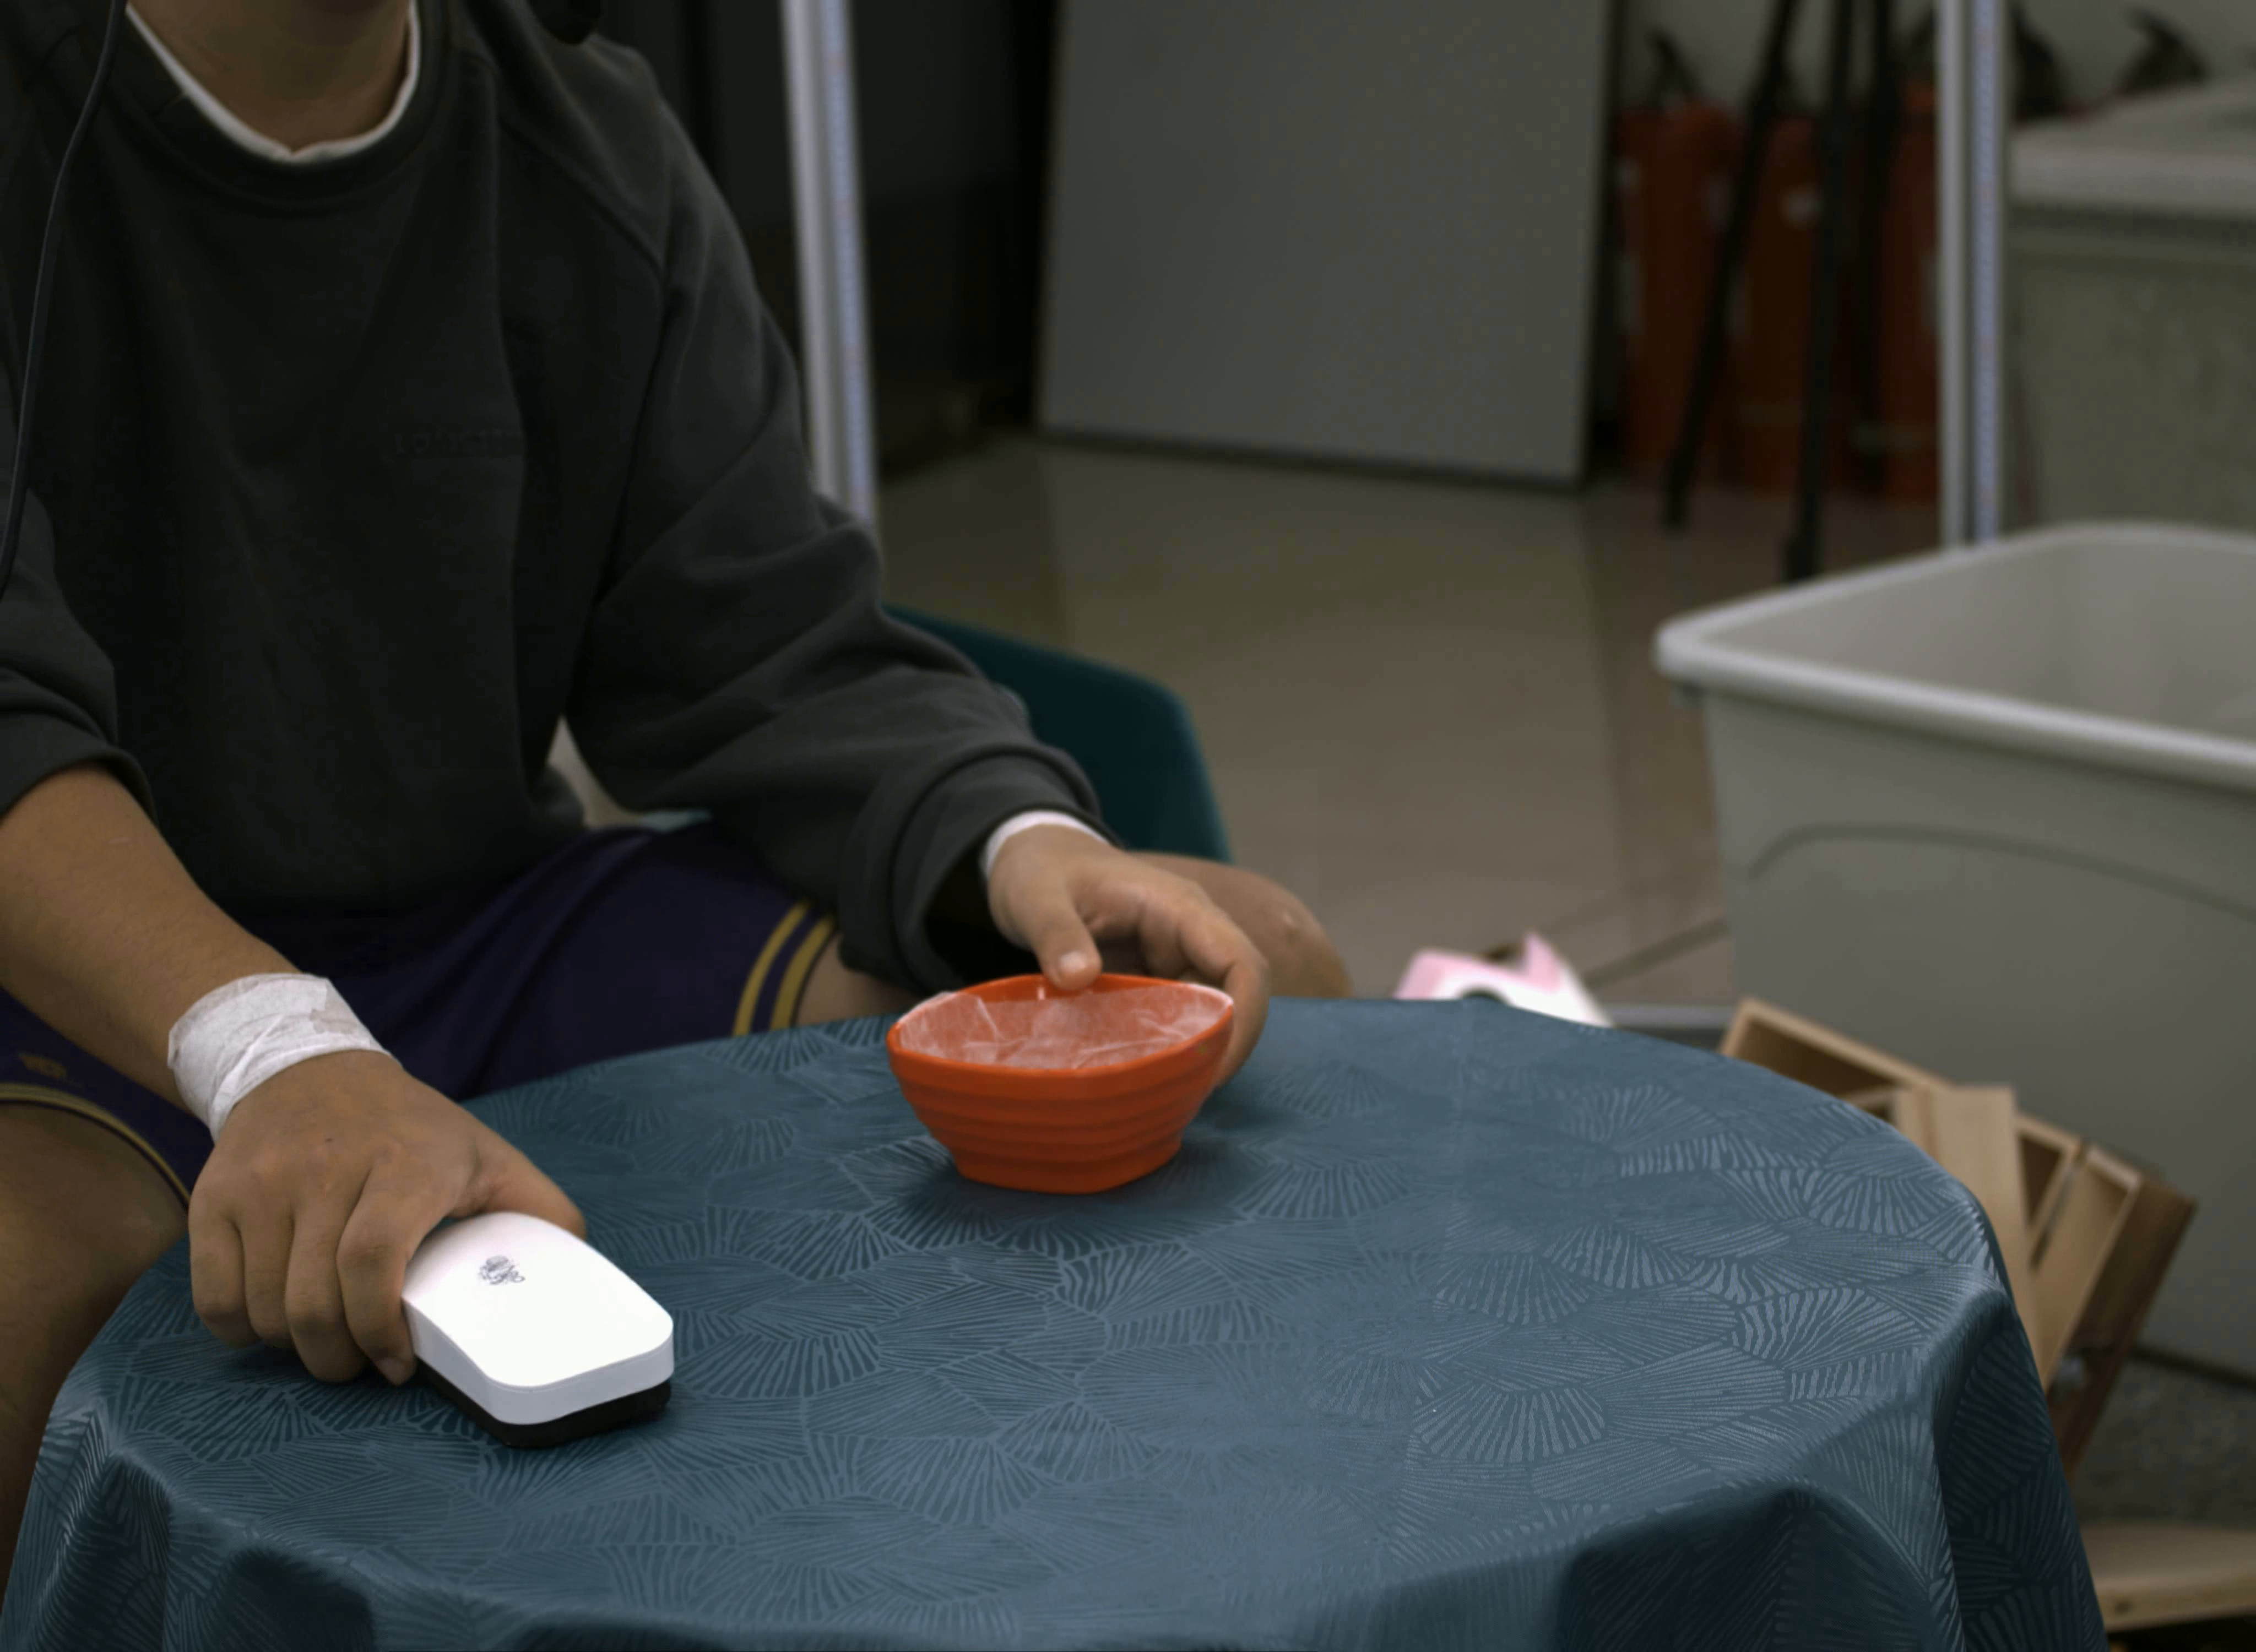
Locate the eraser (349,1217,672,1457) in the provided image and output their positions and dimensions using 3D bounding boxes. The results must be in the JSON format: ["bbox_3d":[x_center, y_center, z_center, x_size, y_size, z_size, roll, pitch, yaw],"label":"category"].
[{"bbox_3d":[-0.184,0.149,1.624,0.062,0.035,0.133,-13,21,-26],"label":"eraser"}]

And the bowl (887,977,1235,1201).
[{"bbox_3d":[-0.020,0.089,1.798,0.117,0.052,0.119,-5,14,0],"label":"bowl"}]
